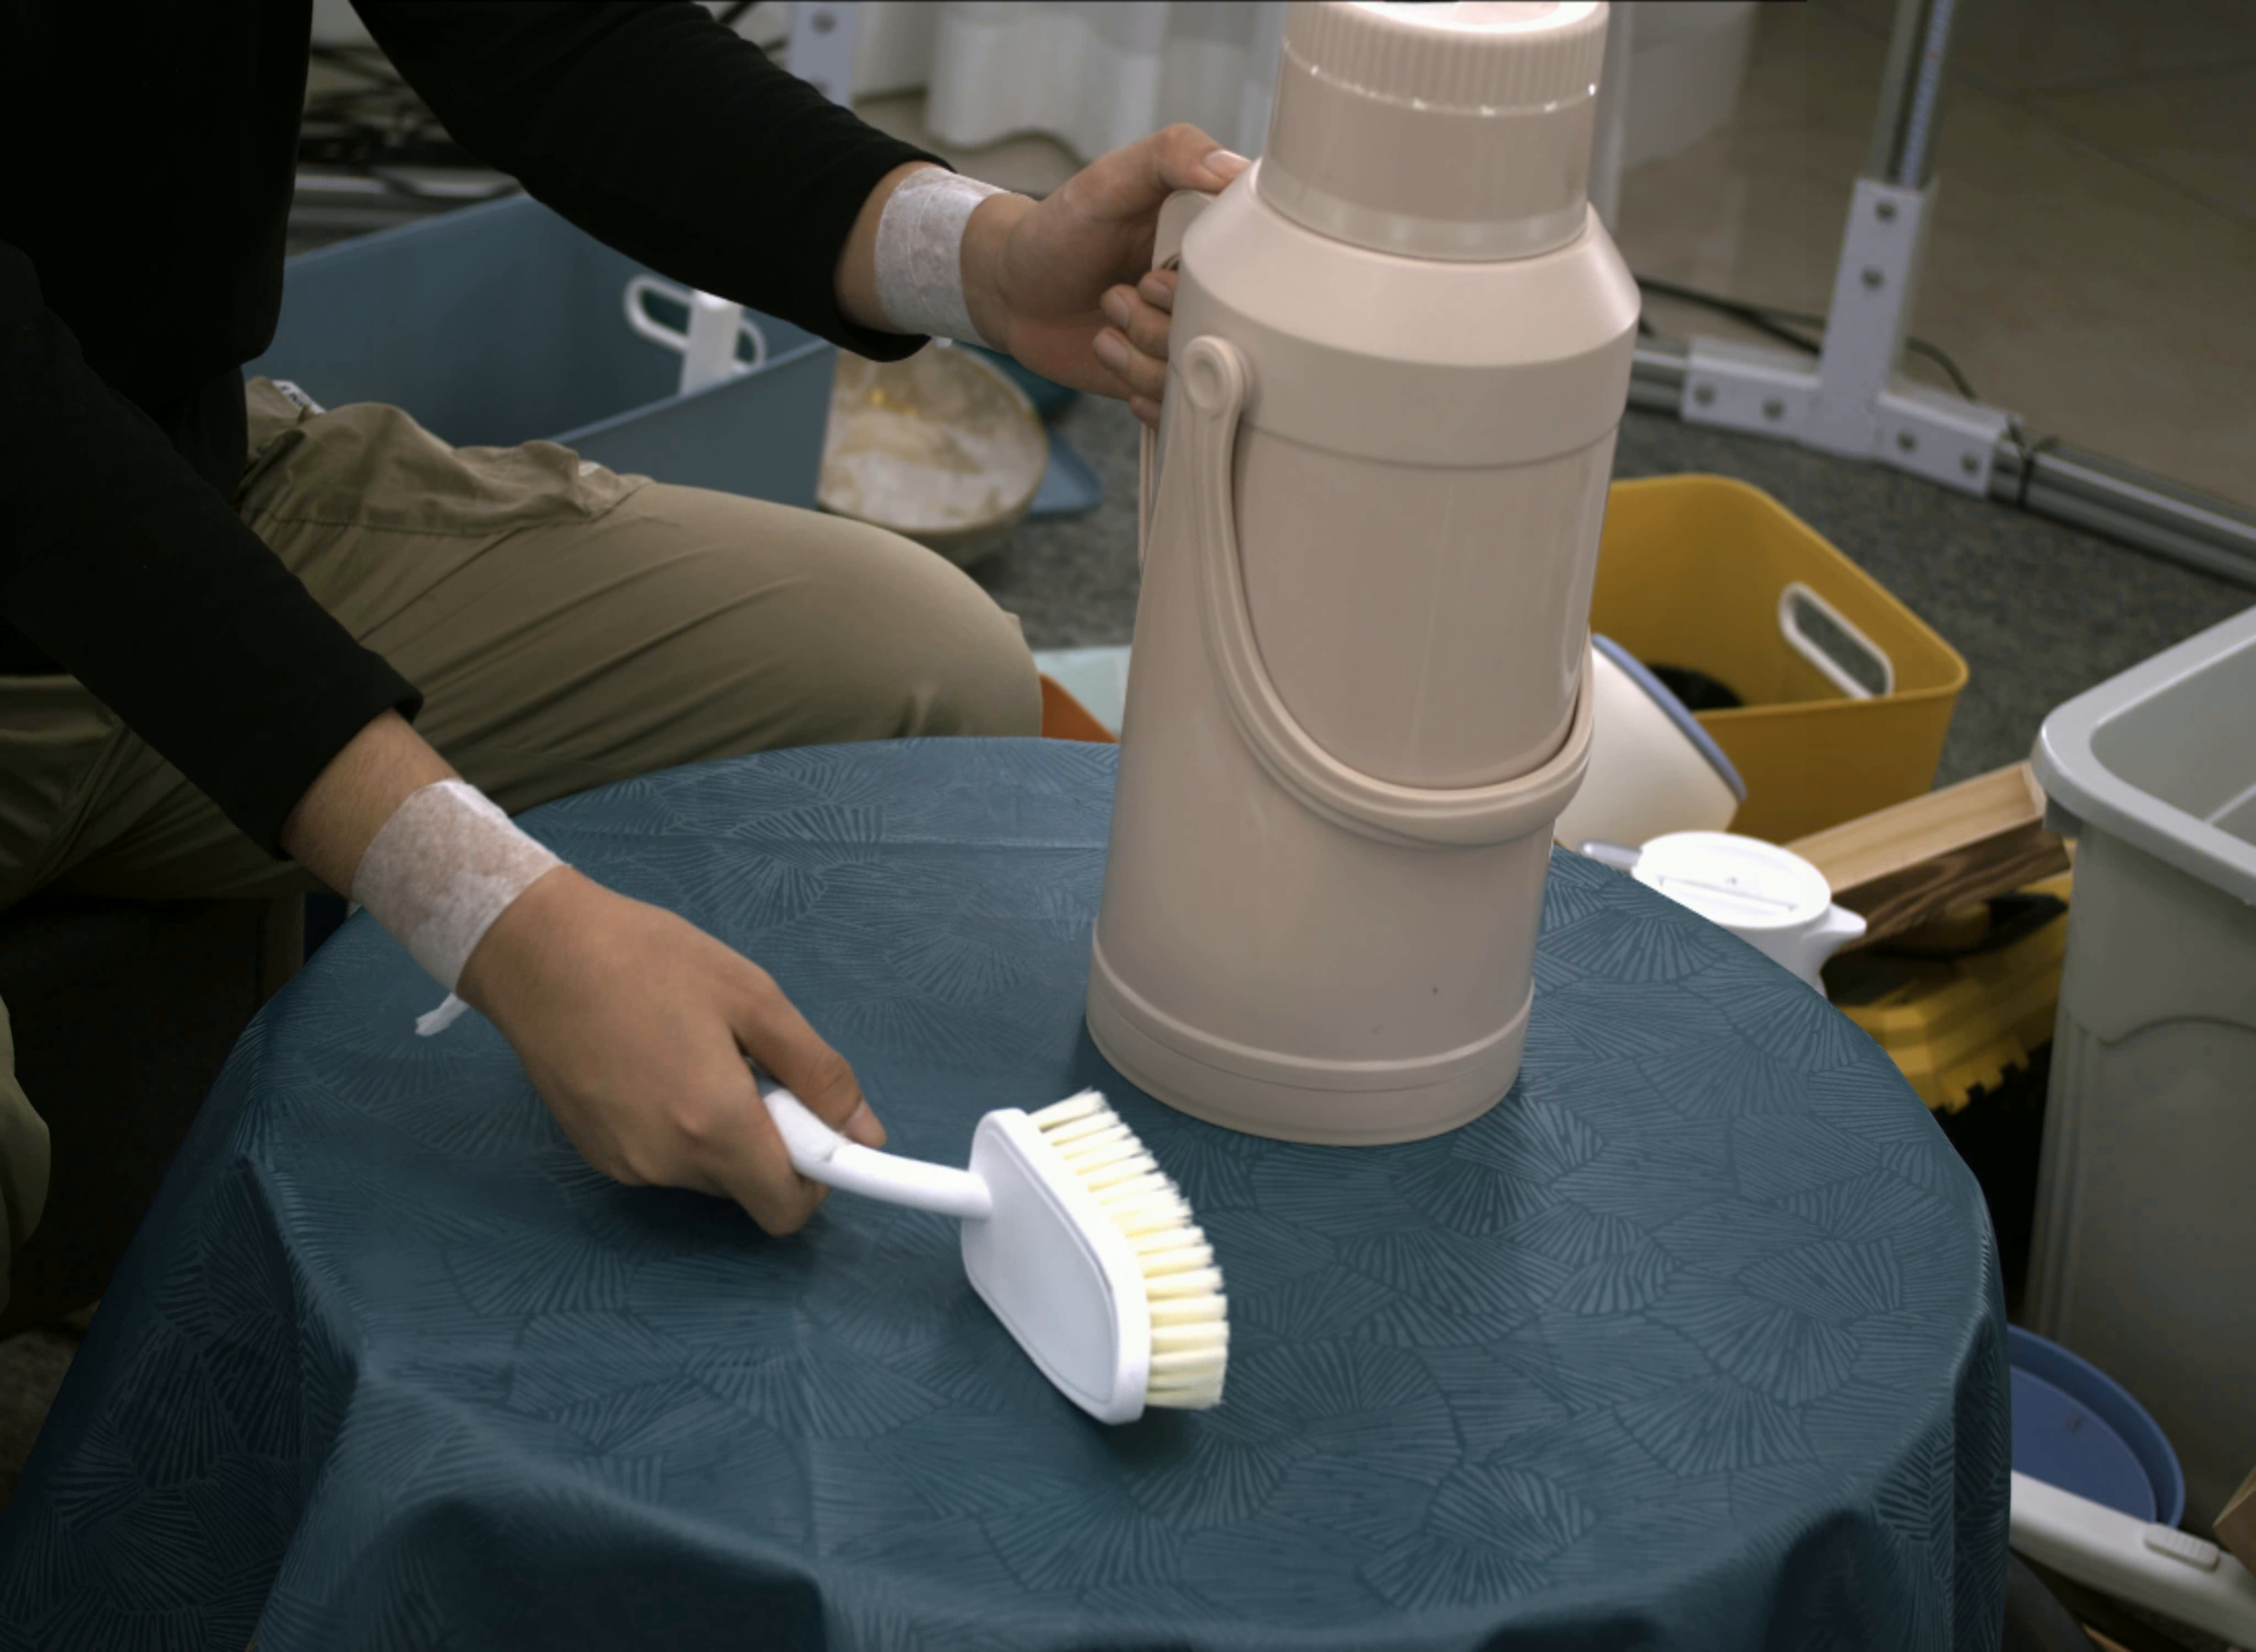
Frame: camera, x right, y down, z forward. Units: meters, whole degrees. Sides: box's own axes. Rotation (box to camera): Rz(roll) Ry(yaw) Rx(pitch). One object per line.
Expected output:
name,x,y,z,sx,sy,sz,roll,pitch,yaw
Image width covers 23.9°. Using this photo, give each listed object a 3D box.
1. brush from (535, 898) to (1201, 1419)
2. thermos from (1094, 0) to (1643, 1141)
brush,-0.075,0.094,1.755,0.328,0.083,0.084,35,0,41
thermos,0.077,-0.107,1.836,0.174,0.405,0.209,-17,35,-36
